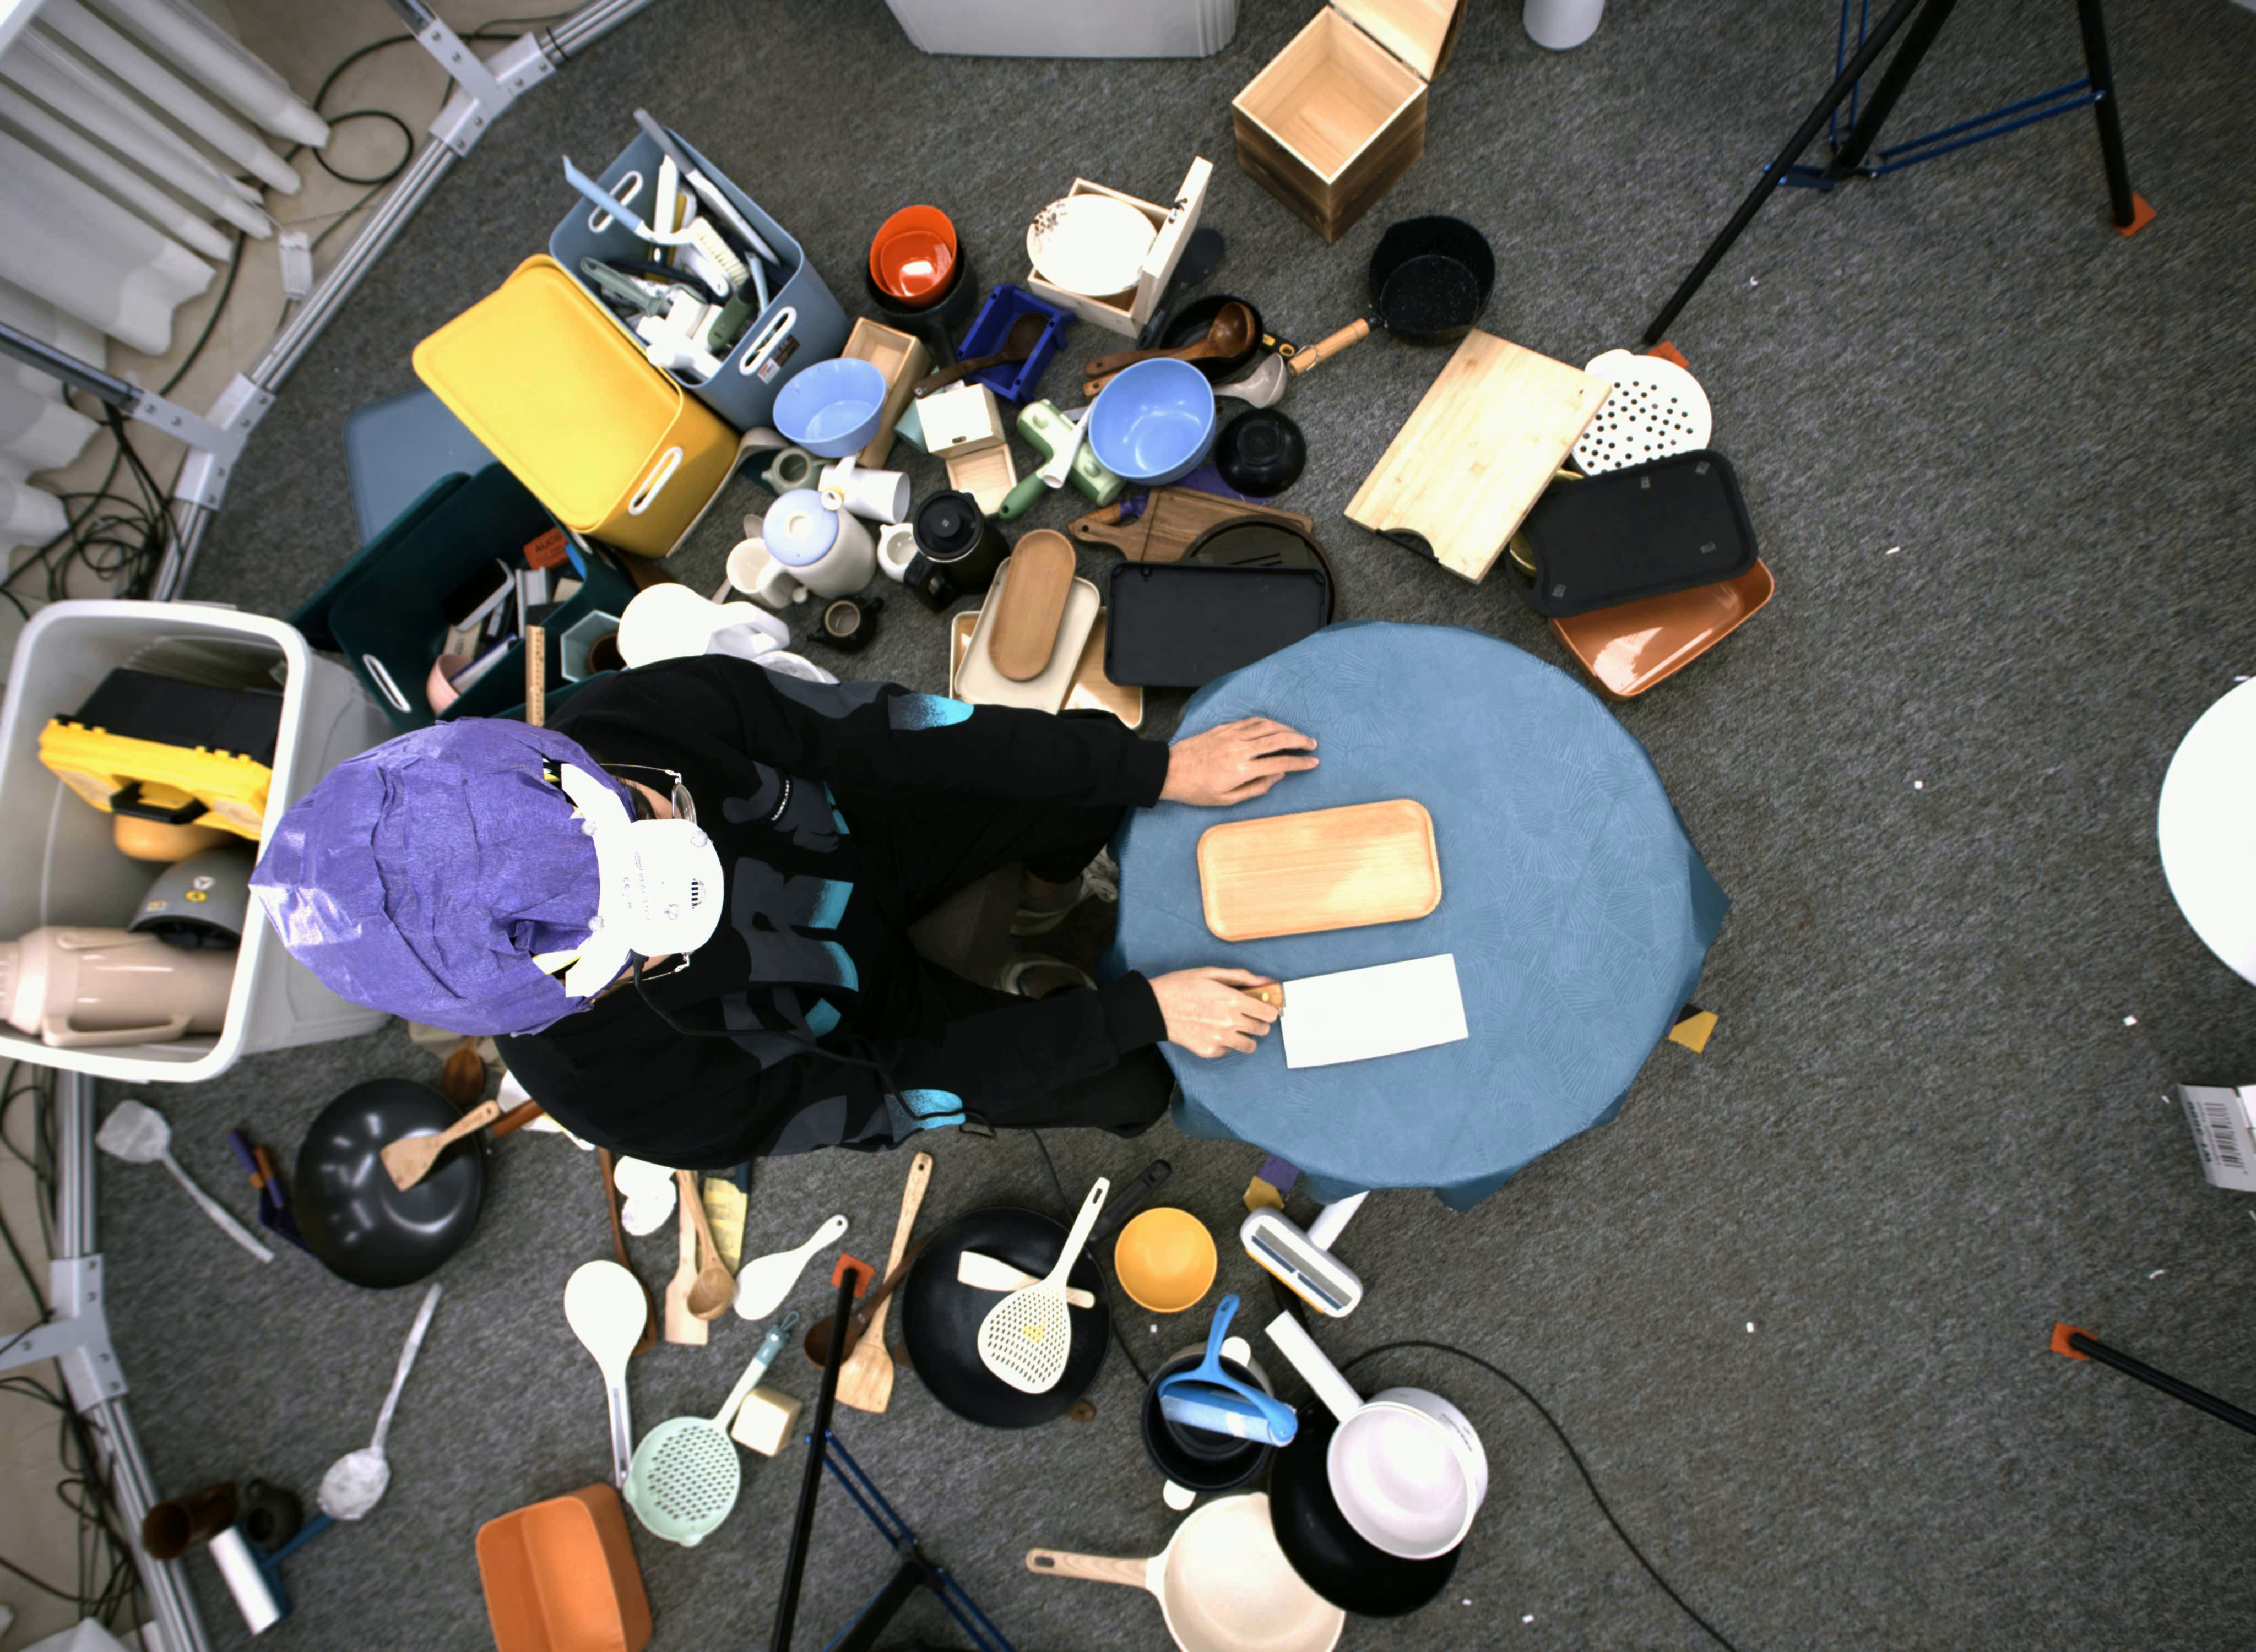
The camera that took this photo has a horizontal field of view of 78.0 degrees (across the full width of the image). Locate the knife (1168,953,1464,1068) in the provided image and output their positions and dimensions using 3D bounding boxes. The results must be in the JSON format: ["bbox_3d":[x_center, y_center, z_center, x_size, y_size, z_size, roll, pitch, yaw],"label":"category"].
[{"bbox_3d":[0.198,0.202,1.454,0.307,0.021,0.092,-11,85,6],"label":"knife"}]

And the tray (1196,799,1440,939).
[{"bbox_3d":[0.200,0.045,1.466,0.252,0.023,0.129,-6,83,11],"label":"tray"}]
